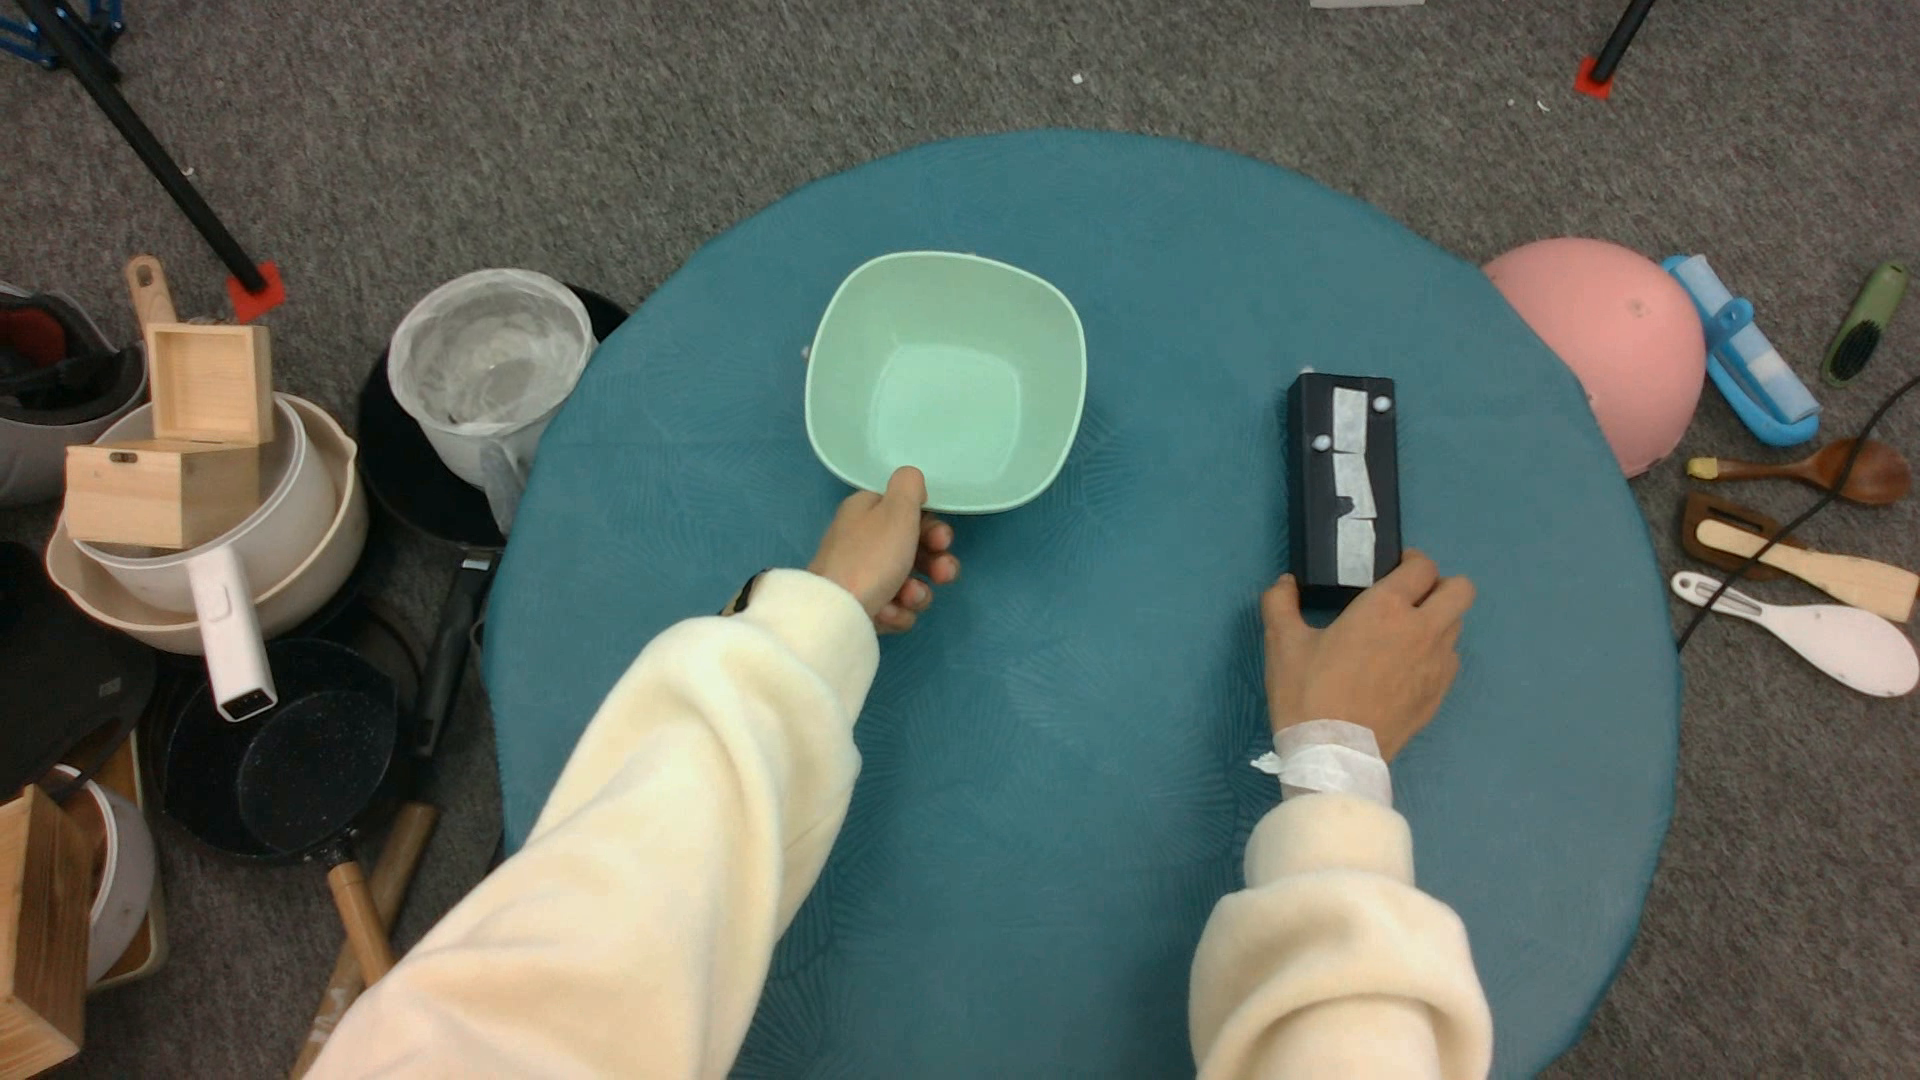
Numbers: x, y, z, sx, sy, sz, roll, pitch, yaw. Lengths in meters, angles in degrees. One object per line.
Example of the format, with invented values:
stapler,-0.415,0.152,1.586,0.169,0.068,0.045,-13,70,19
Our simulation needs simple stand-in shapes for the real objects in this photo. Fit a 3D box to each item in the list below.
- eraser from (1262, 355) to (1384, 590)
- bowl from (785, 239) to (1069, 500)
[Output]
eraser,0.187,-0.036,0.719,0.053,0.030,0.126,2,70,-1
bowl,-0.016,-0.079,0.707,0.151,0.058,0.152,0,72,0
